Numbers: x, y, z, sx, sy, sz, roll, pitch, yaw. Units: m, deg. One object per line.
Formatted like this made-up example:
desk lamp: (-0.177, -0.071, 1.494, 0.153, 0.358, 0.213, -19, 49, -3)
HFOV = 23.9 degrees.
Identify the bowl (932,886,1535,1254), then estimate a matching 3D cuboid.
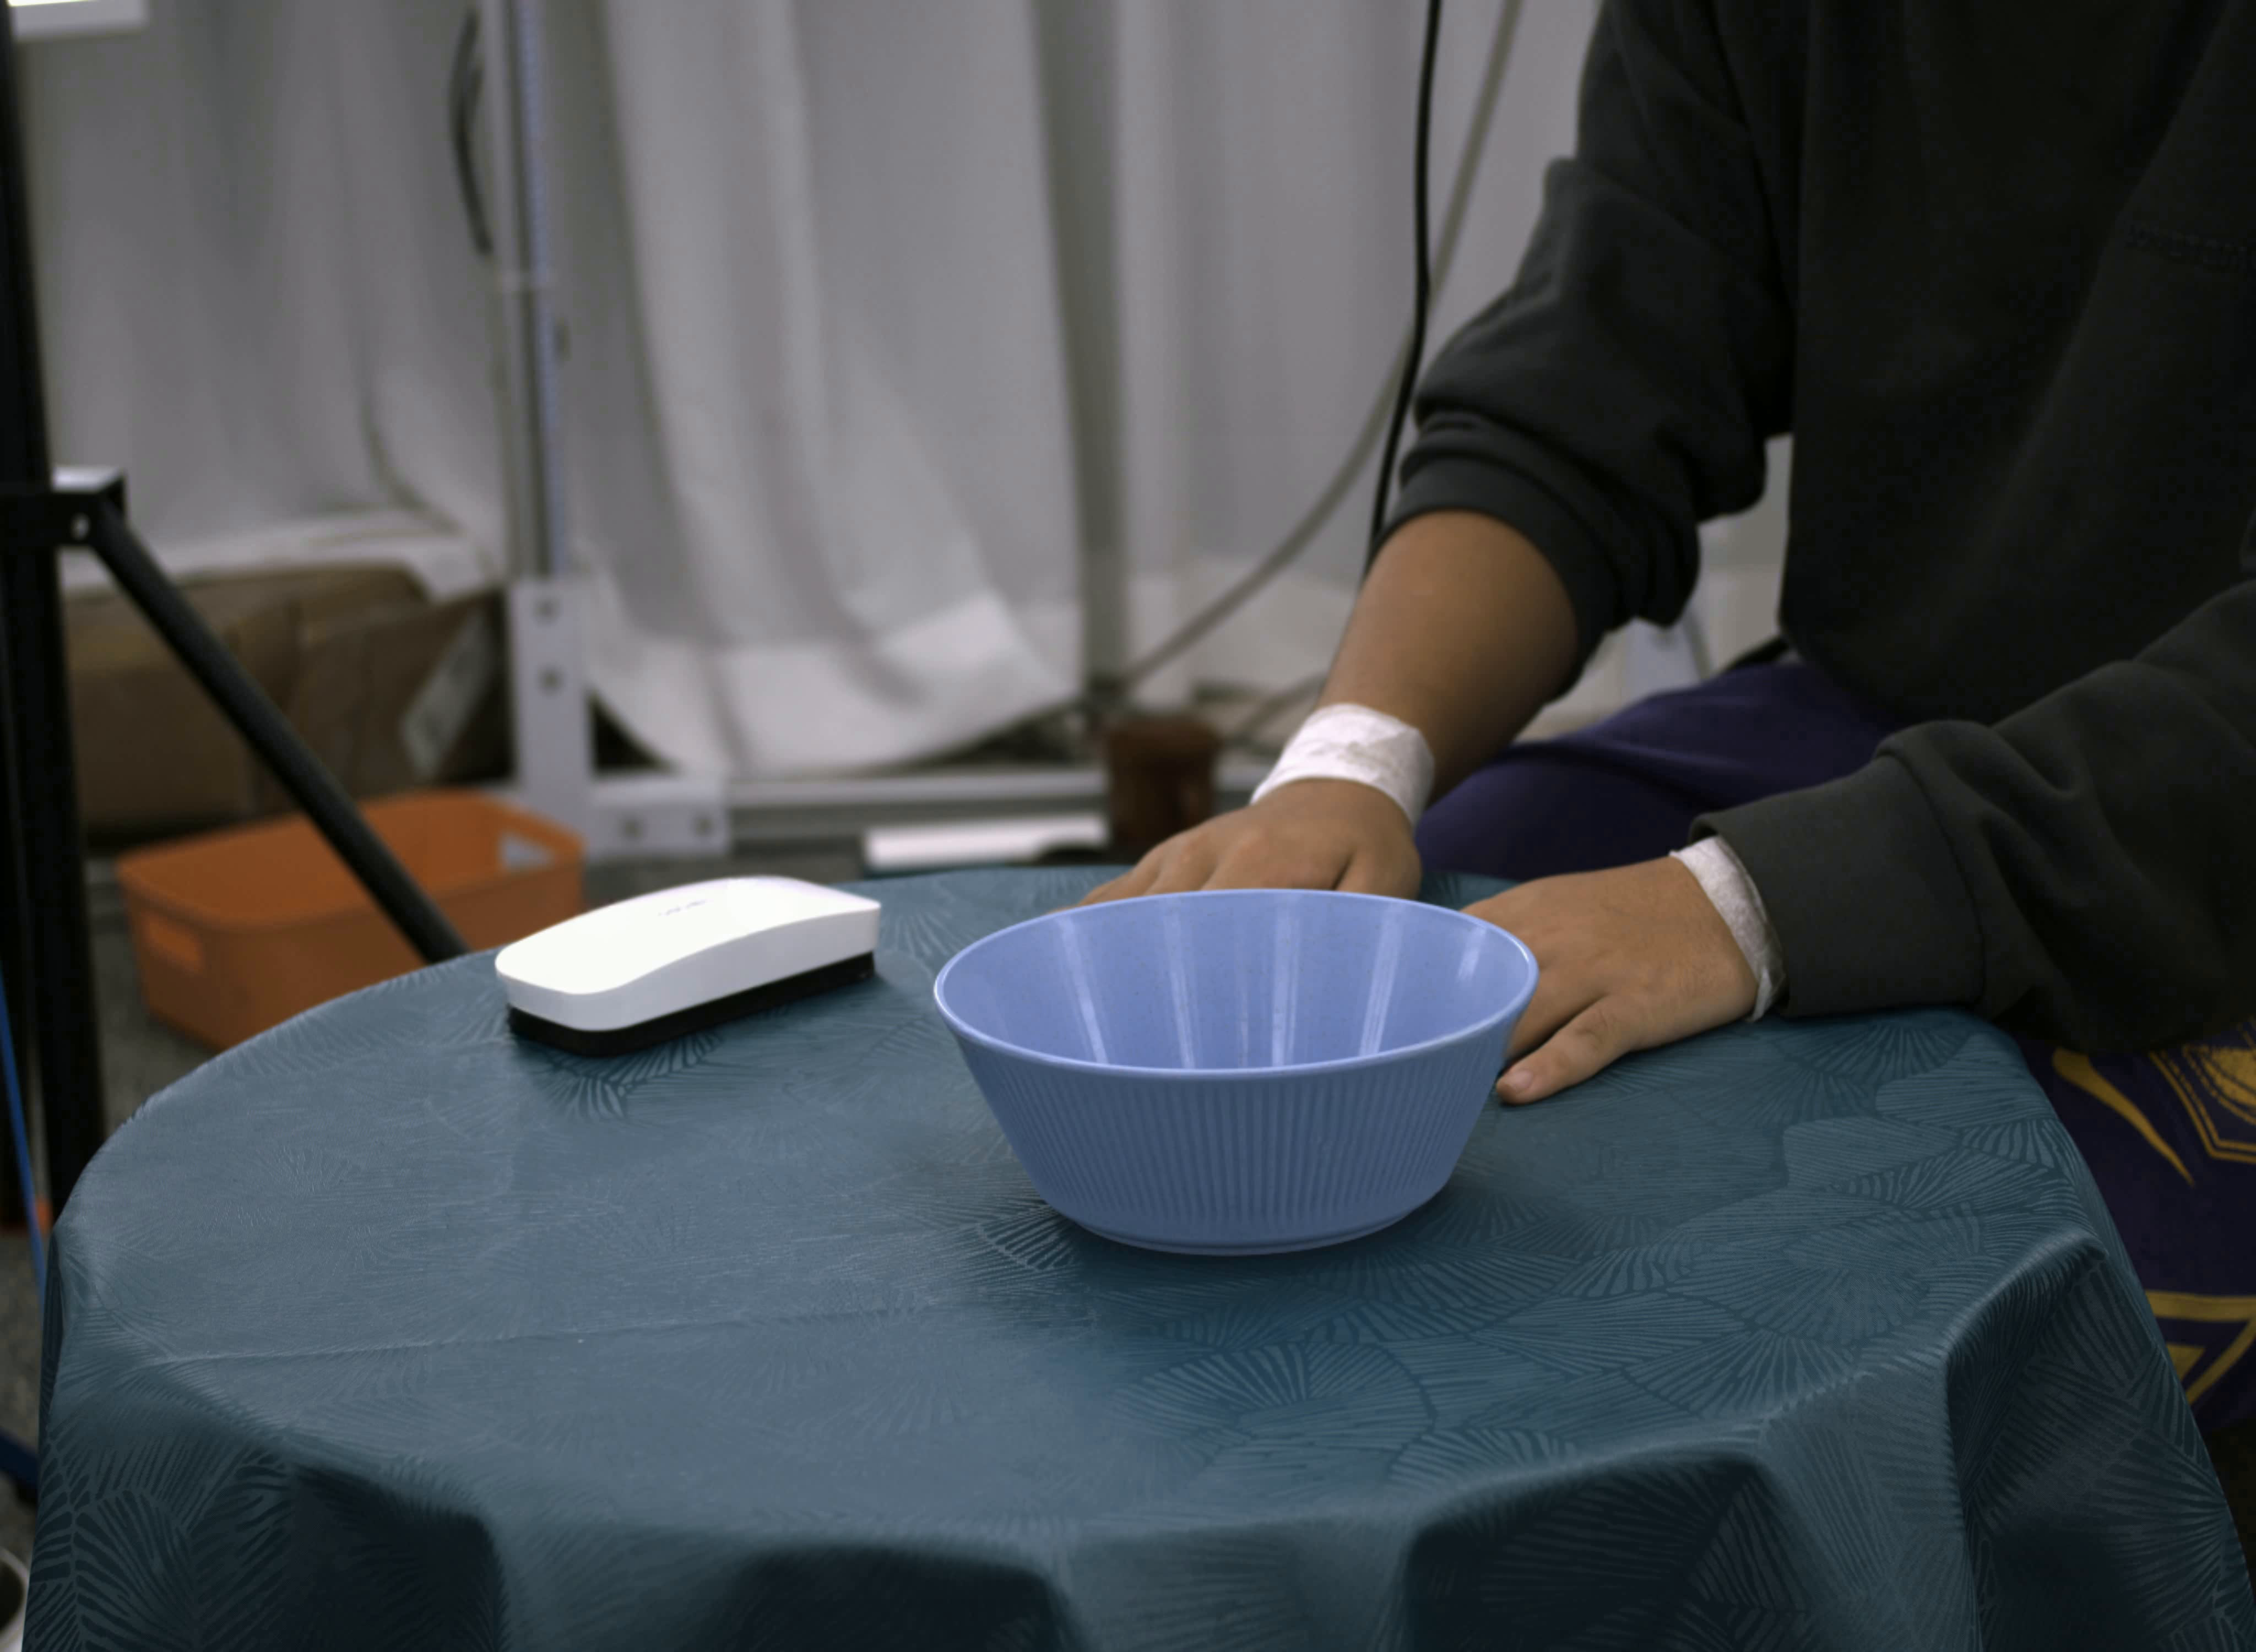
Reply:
bowl: (0.031, 0.074, 1.546, 0.175, 0.070, 0.177, -2, 17, -1)

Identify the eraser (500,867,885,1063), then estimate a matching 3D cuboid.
eraser: (-0.141, 0.042, 1.756, 0.128, 0.034, 0.065, -18, 23, -38)
